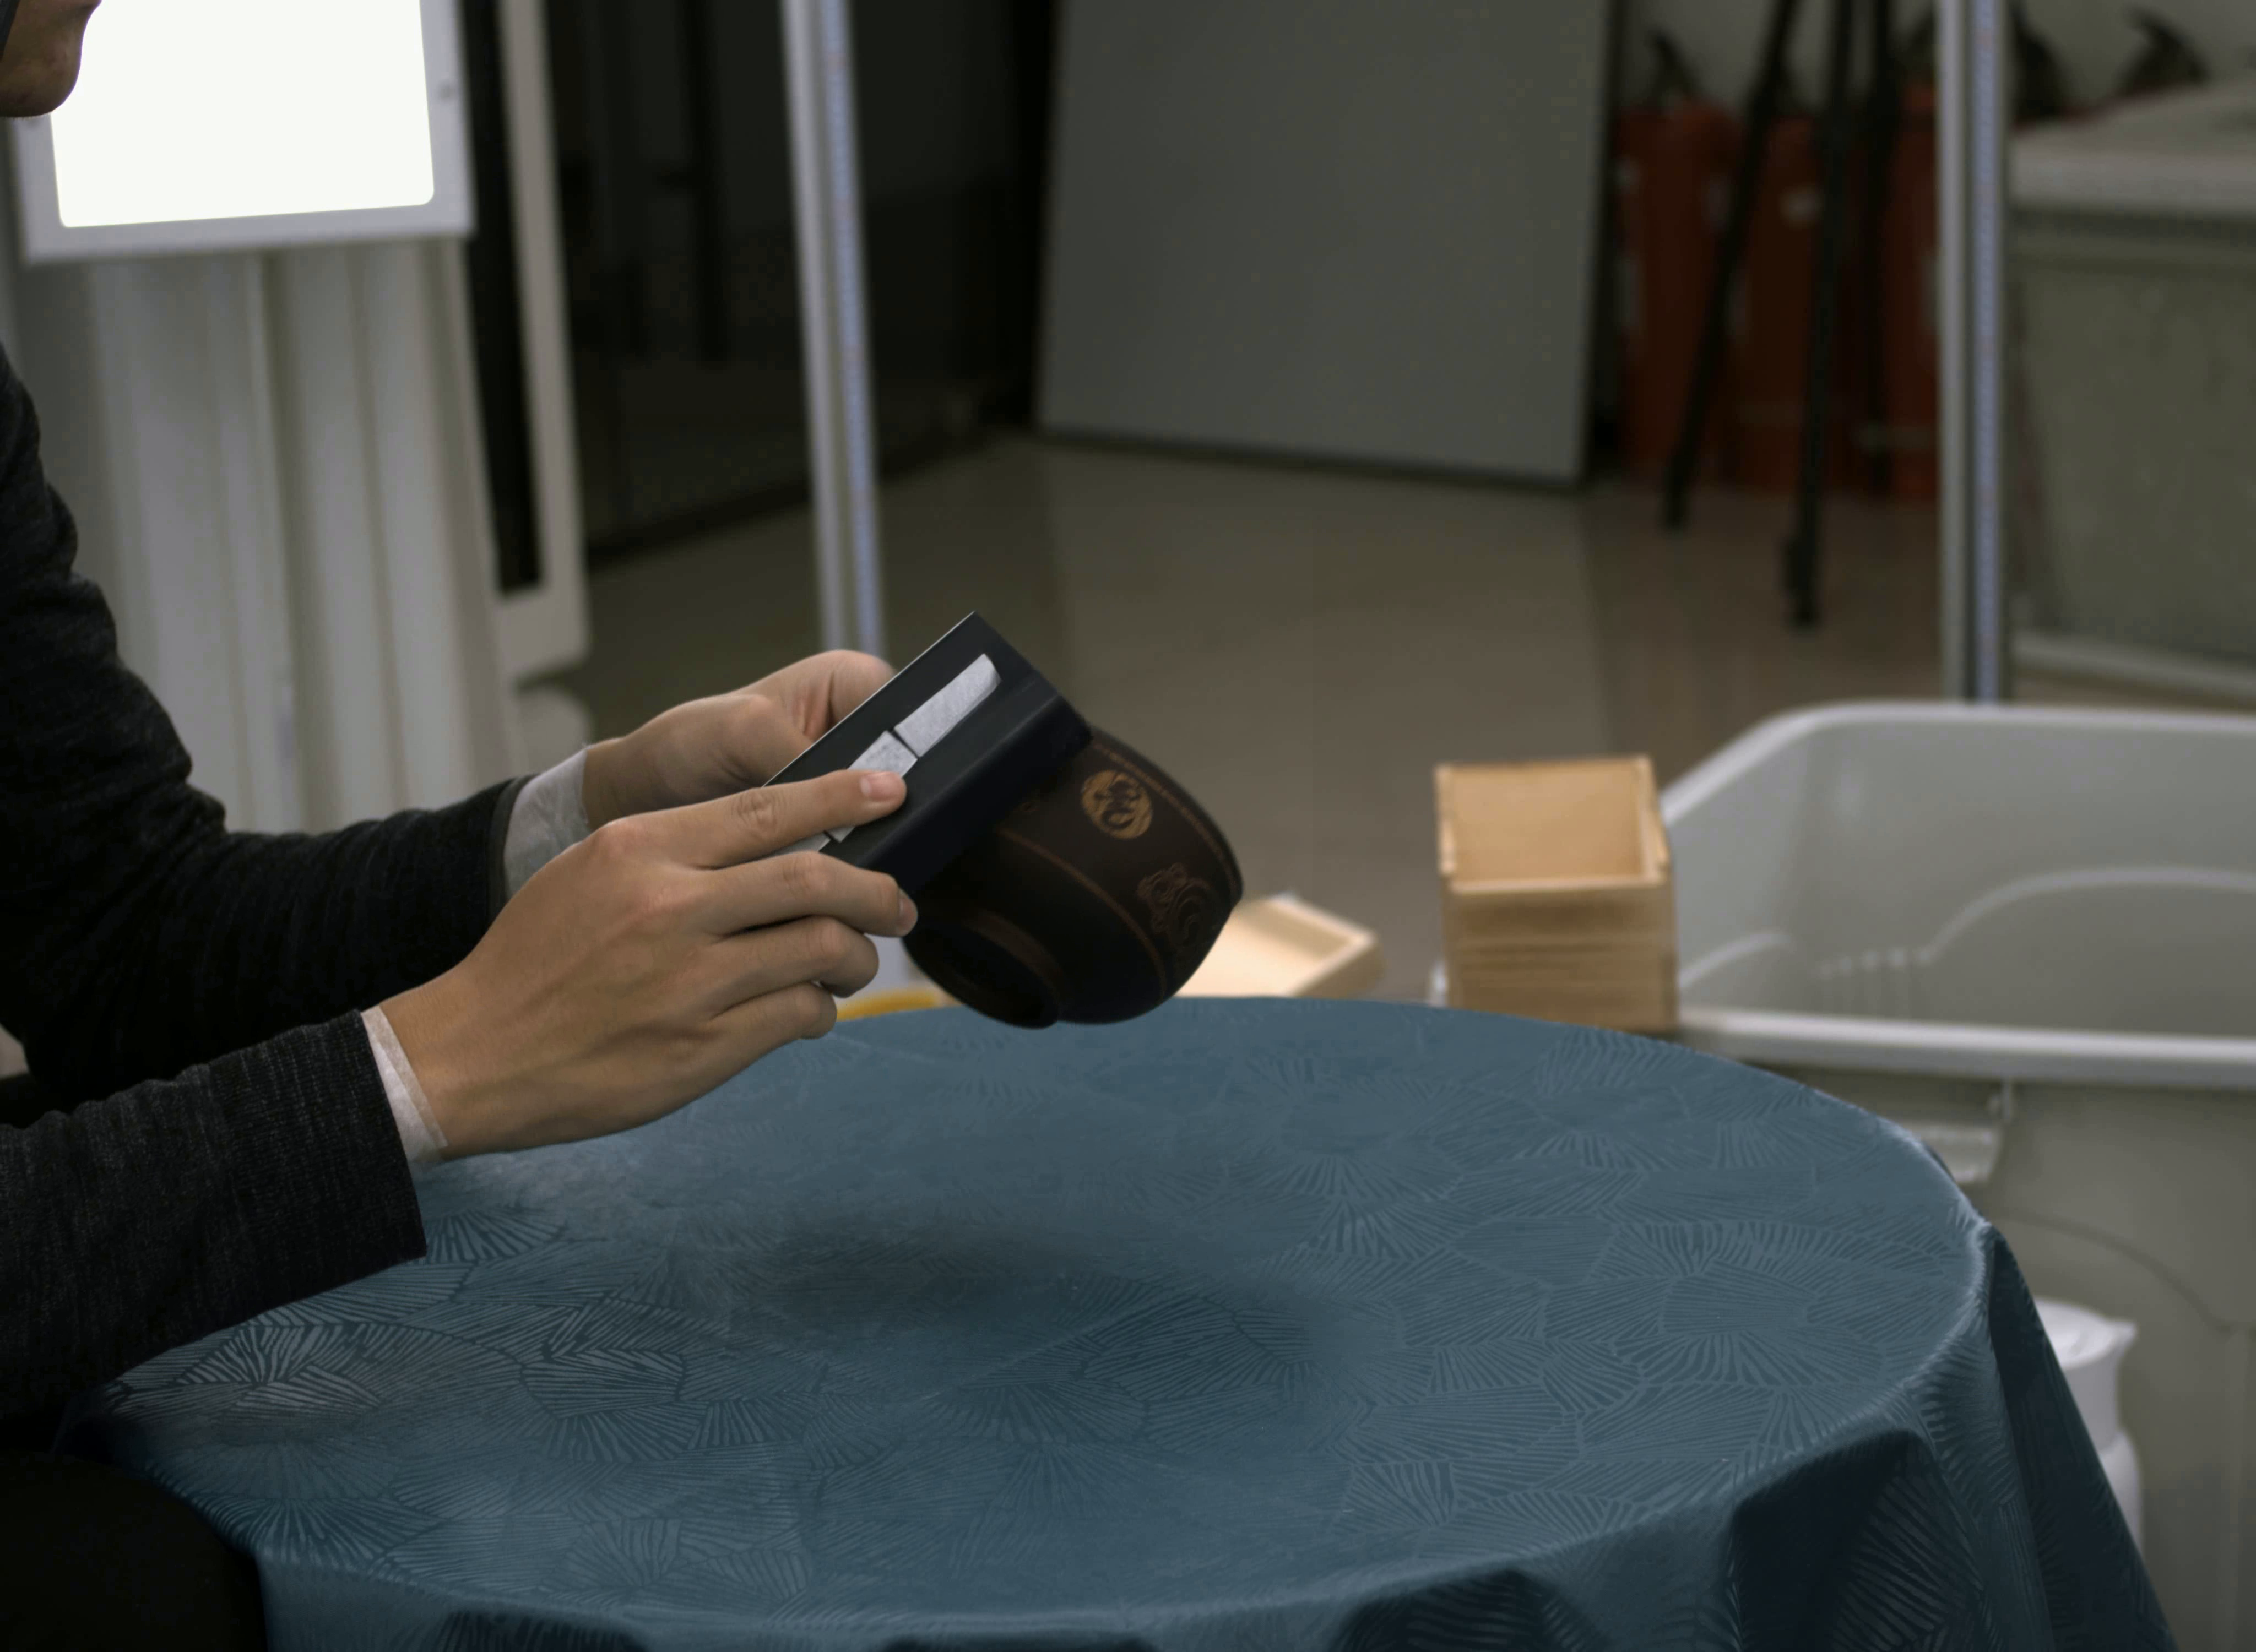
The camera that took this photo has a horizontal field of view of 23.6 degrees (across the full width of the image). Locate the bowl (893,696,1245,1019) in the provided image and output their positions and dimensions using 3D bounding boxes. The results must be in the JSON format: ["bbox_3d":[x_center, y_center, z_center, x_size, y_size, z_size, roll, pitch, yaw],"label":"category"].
[{"bbox_3d":[-0.029,0.016,1.688,0.119,0.117,0.070,8,58,41],"label":"bowl"}]

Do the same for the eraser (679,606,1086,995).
[{"bbox_3d":[-0.073,-0.009,1.632,0.125,0.030,0.054,-43,53,-10],"label":"eraser"}]
